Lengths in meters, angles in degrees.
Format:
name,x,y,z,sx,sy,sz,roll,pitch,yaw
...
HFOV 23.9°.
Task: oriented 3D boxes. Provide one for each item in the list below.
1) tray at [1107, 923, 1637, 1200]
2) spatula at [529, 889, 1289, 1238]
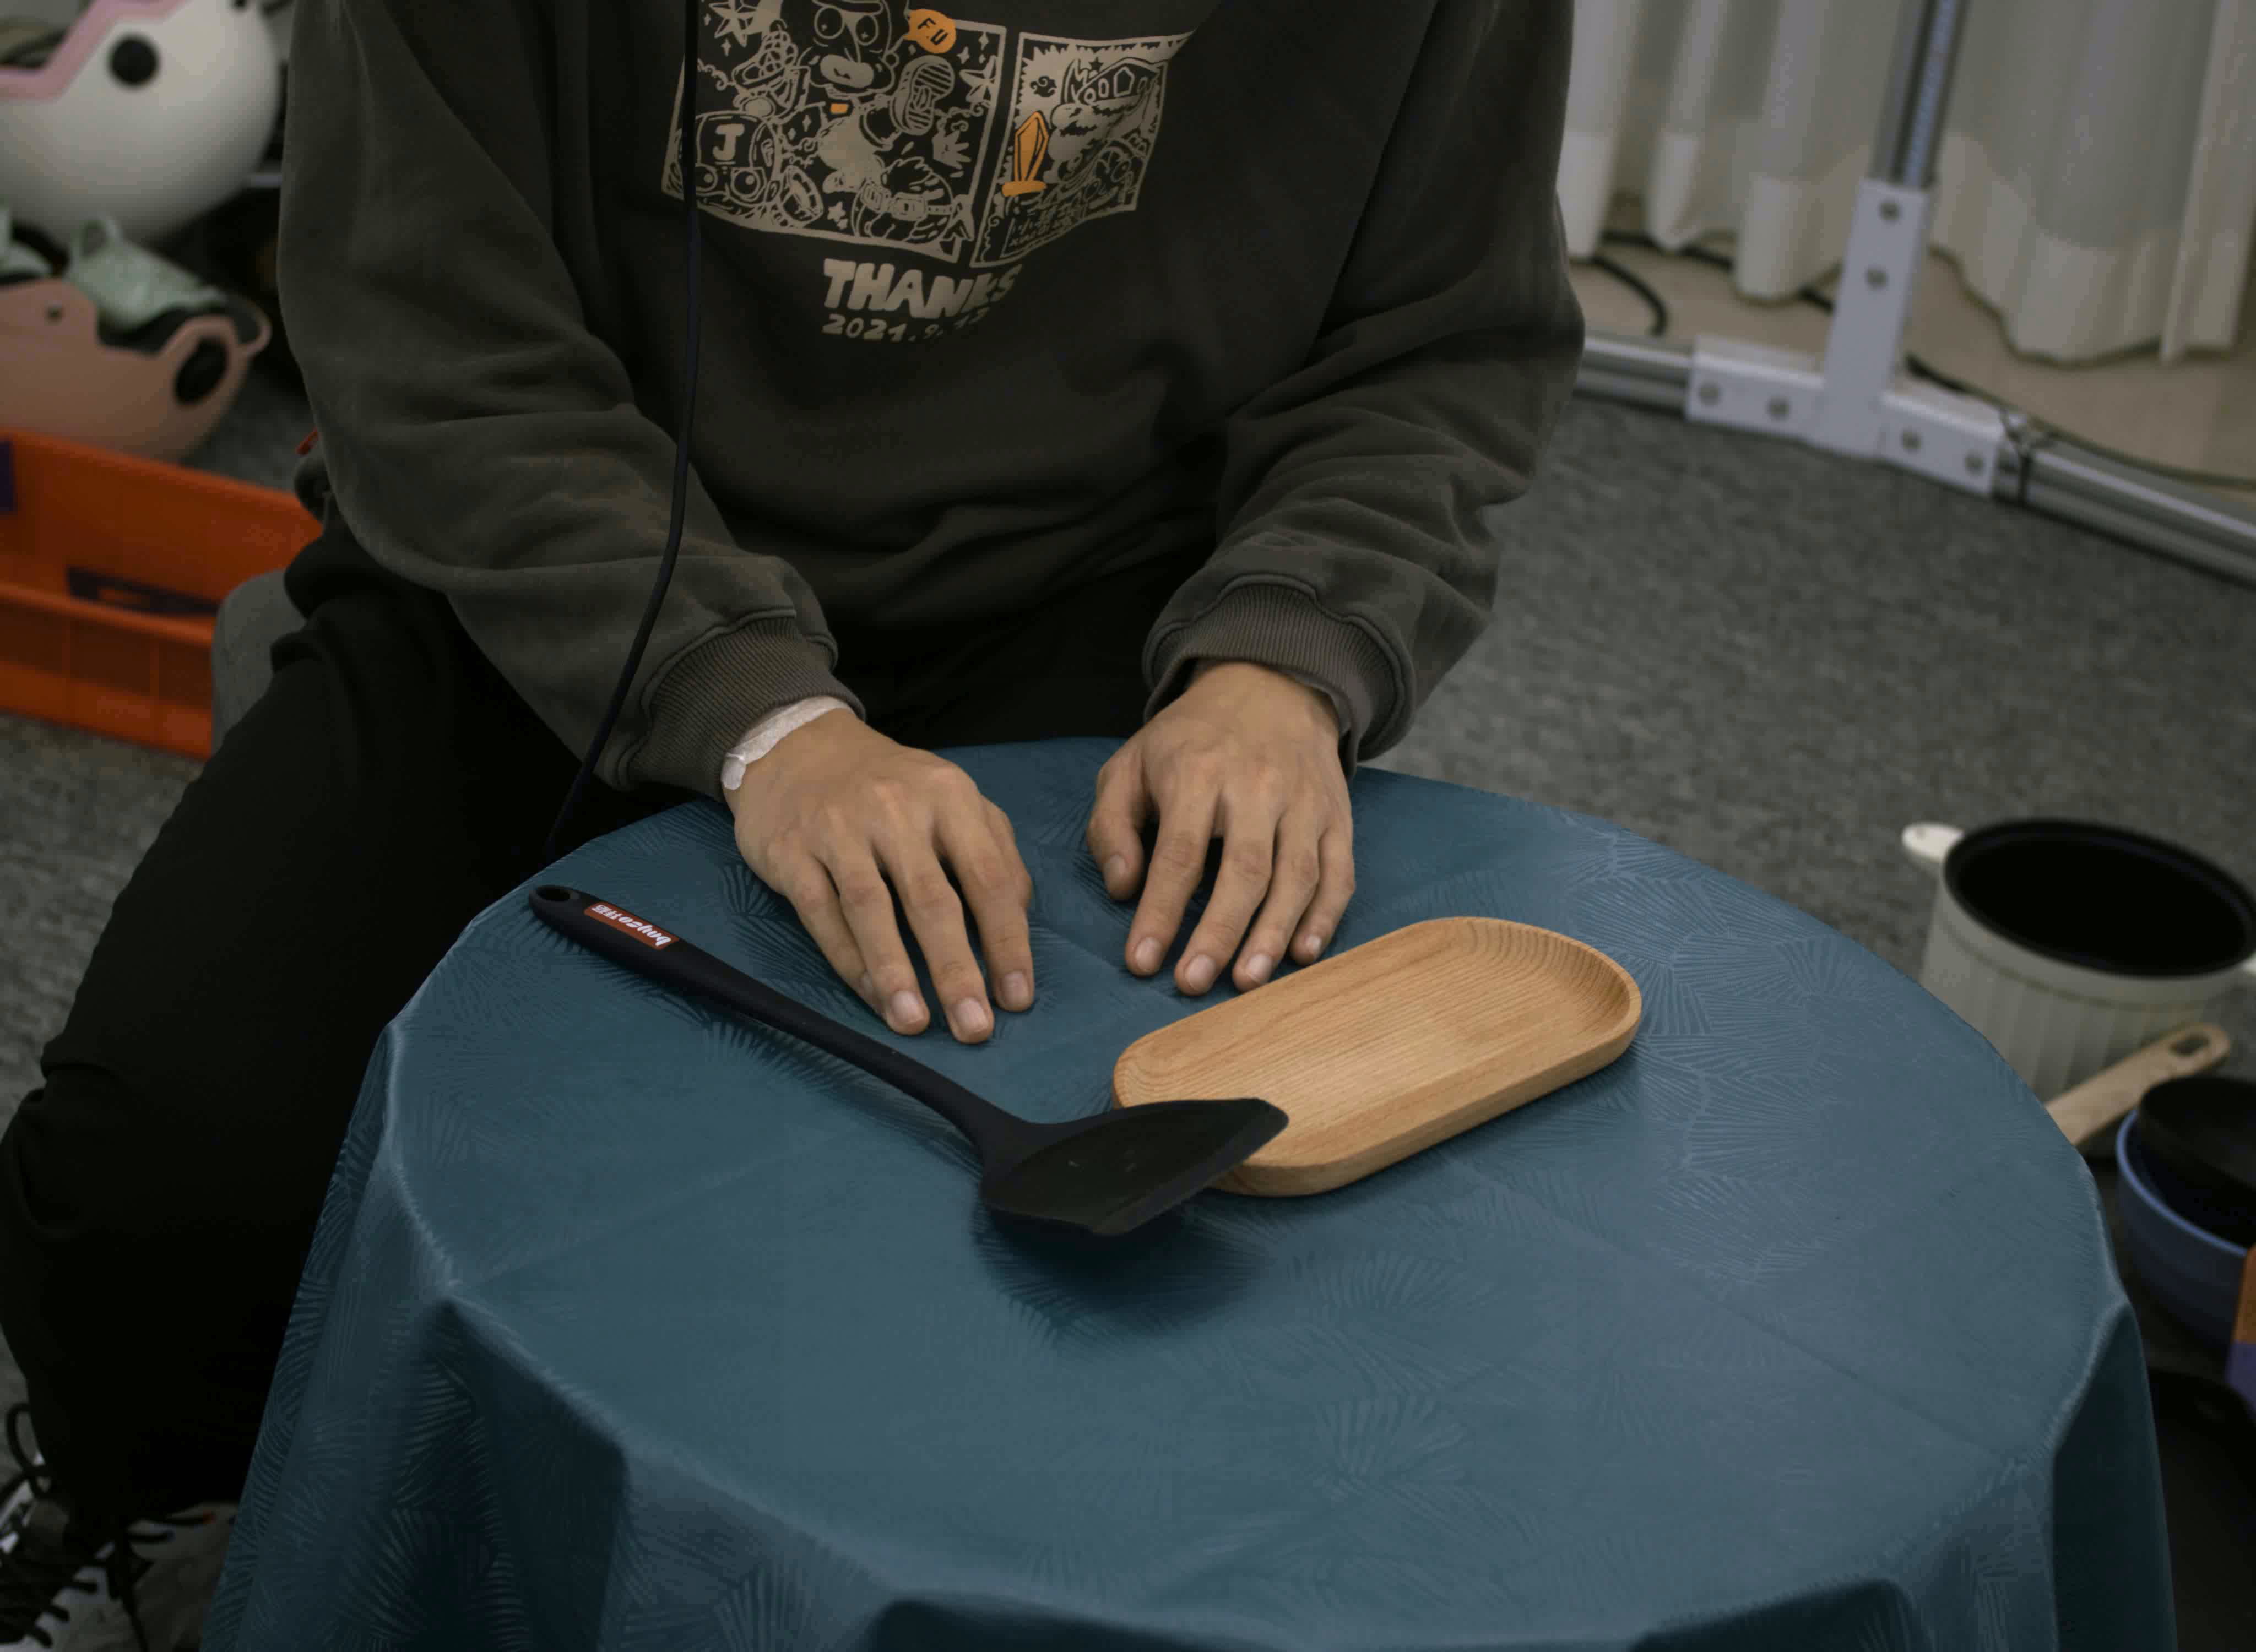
name,x,y,z,sx,sy,sz,roll,pitch,yaw
tray,0.088,0.083,1.888,0.230,0.020,0.102,-21,37,-41
spatula,-0.094,0.073,1.843,0.328,0.040,0.099,26,37,34
